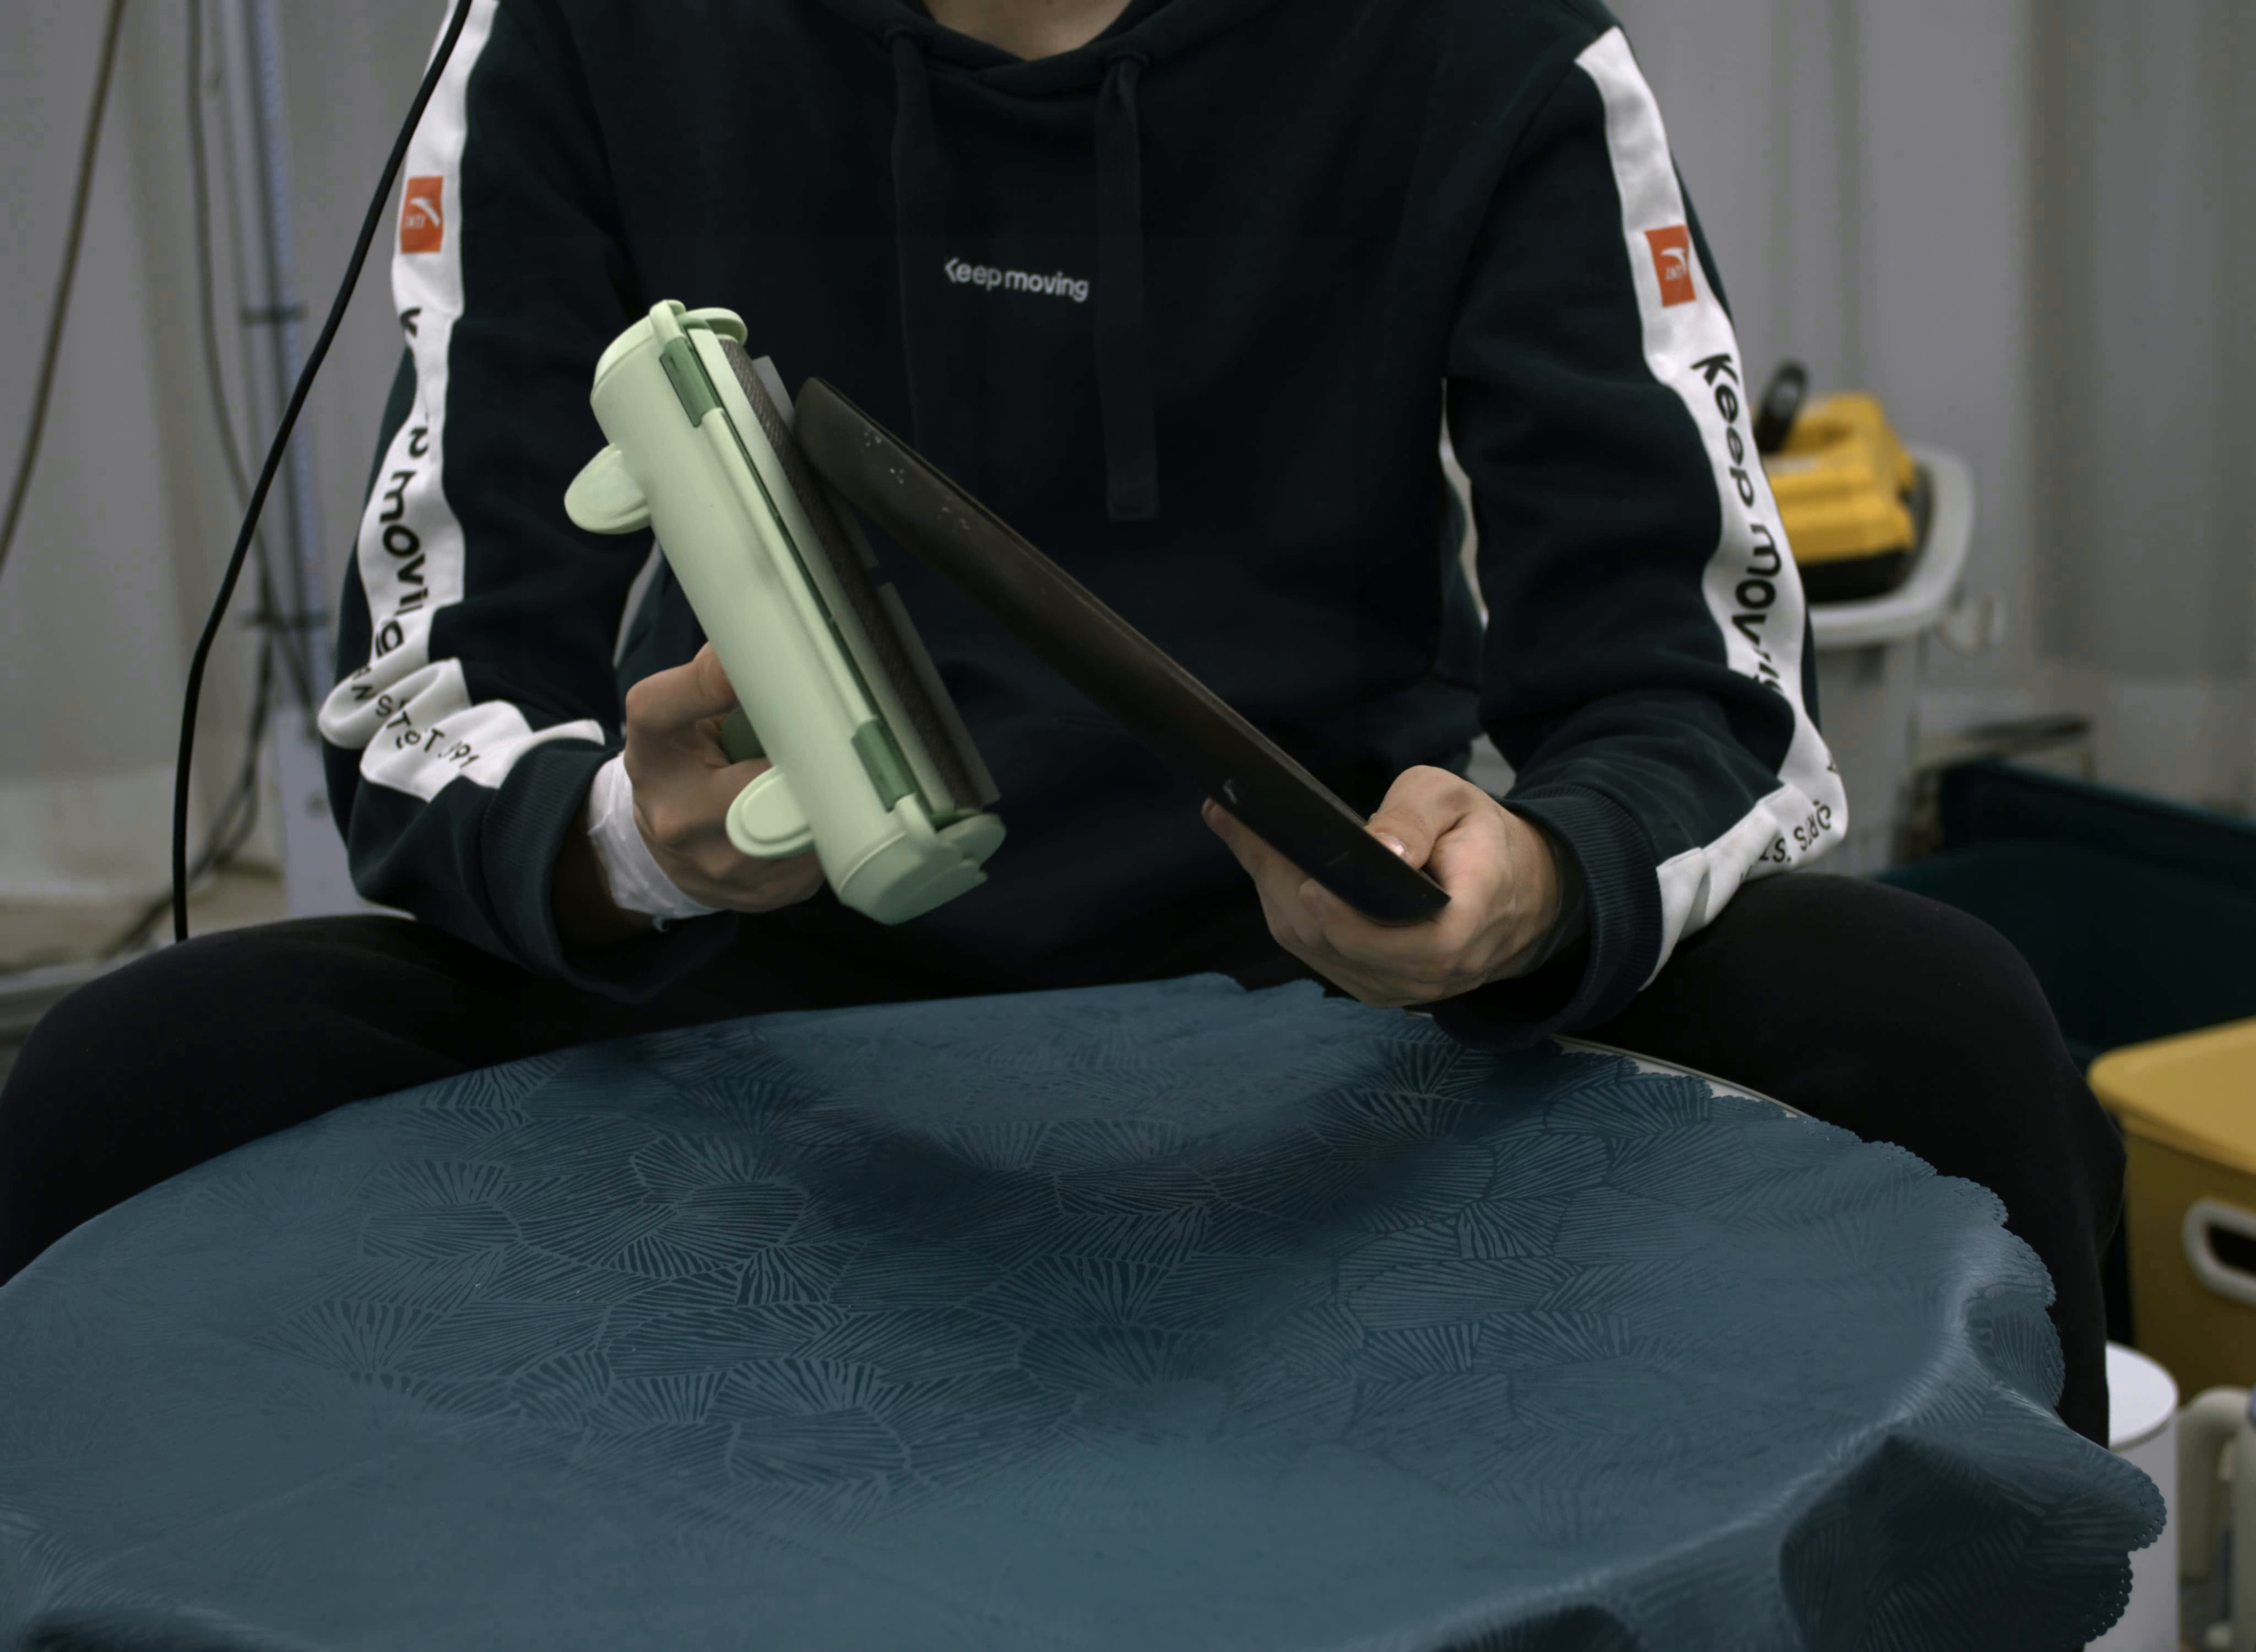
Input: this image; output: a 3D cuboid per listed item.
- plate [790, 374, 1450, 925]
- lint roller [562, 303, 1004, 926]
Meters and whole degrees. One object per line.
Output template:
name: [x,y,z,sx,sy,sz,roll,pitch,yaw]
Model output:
plate: [-0.004,-0.051,1.667,0.254,0.029,0.255,38,2,-2]
lint roller: [-0.122,-0.038,1.693,0.082,0.200,0.182,-19,-19,-25]
